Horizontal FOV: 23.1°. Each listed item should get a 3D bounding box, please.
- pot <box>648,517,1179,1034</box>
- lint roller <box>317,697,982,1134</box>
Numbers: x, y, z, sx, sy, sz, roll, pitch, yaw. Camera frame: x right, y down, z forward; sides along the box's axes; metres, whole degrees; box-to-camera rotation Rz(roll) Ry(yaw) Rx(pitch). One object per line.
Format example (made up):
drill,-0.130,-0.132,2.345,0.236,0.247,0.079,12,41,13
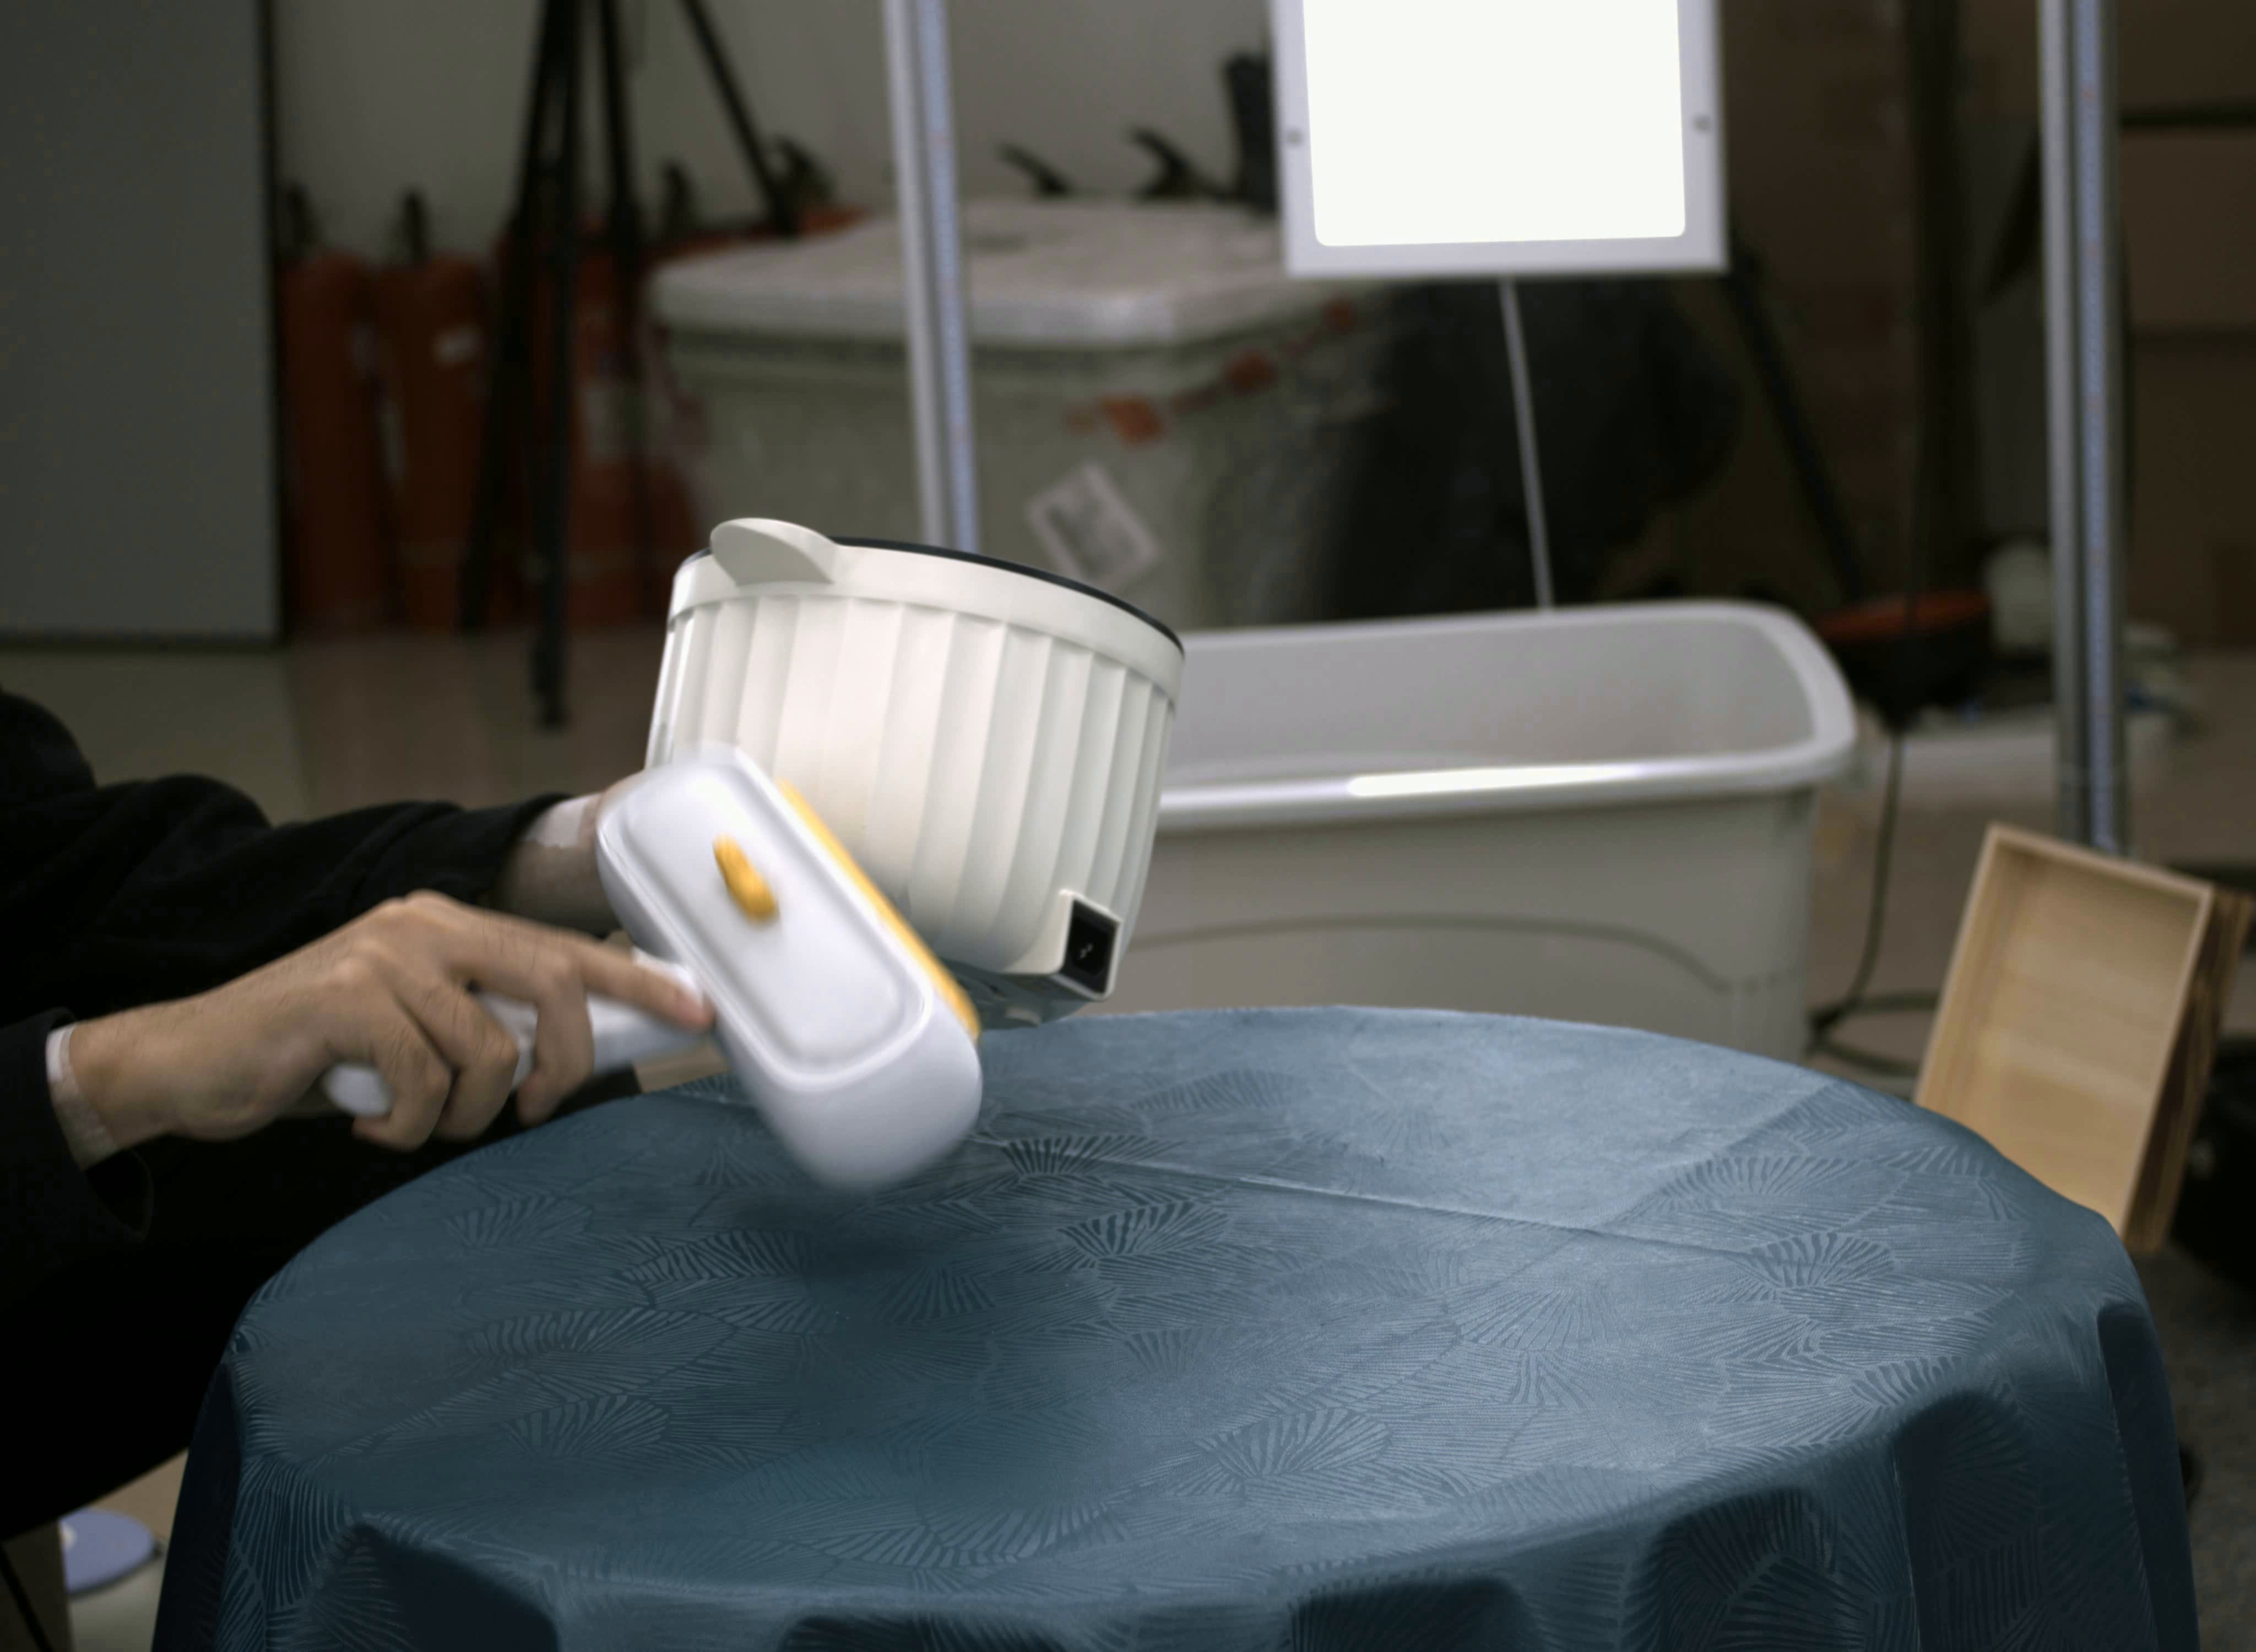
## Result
pot,-0.087,-0.009,1.908,0.194,0.142,0.236,4,-16,33
lint roller,-0.164,0.048,1.736,0.189,0.074,0.195,-29,48,-18
